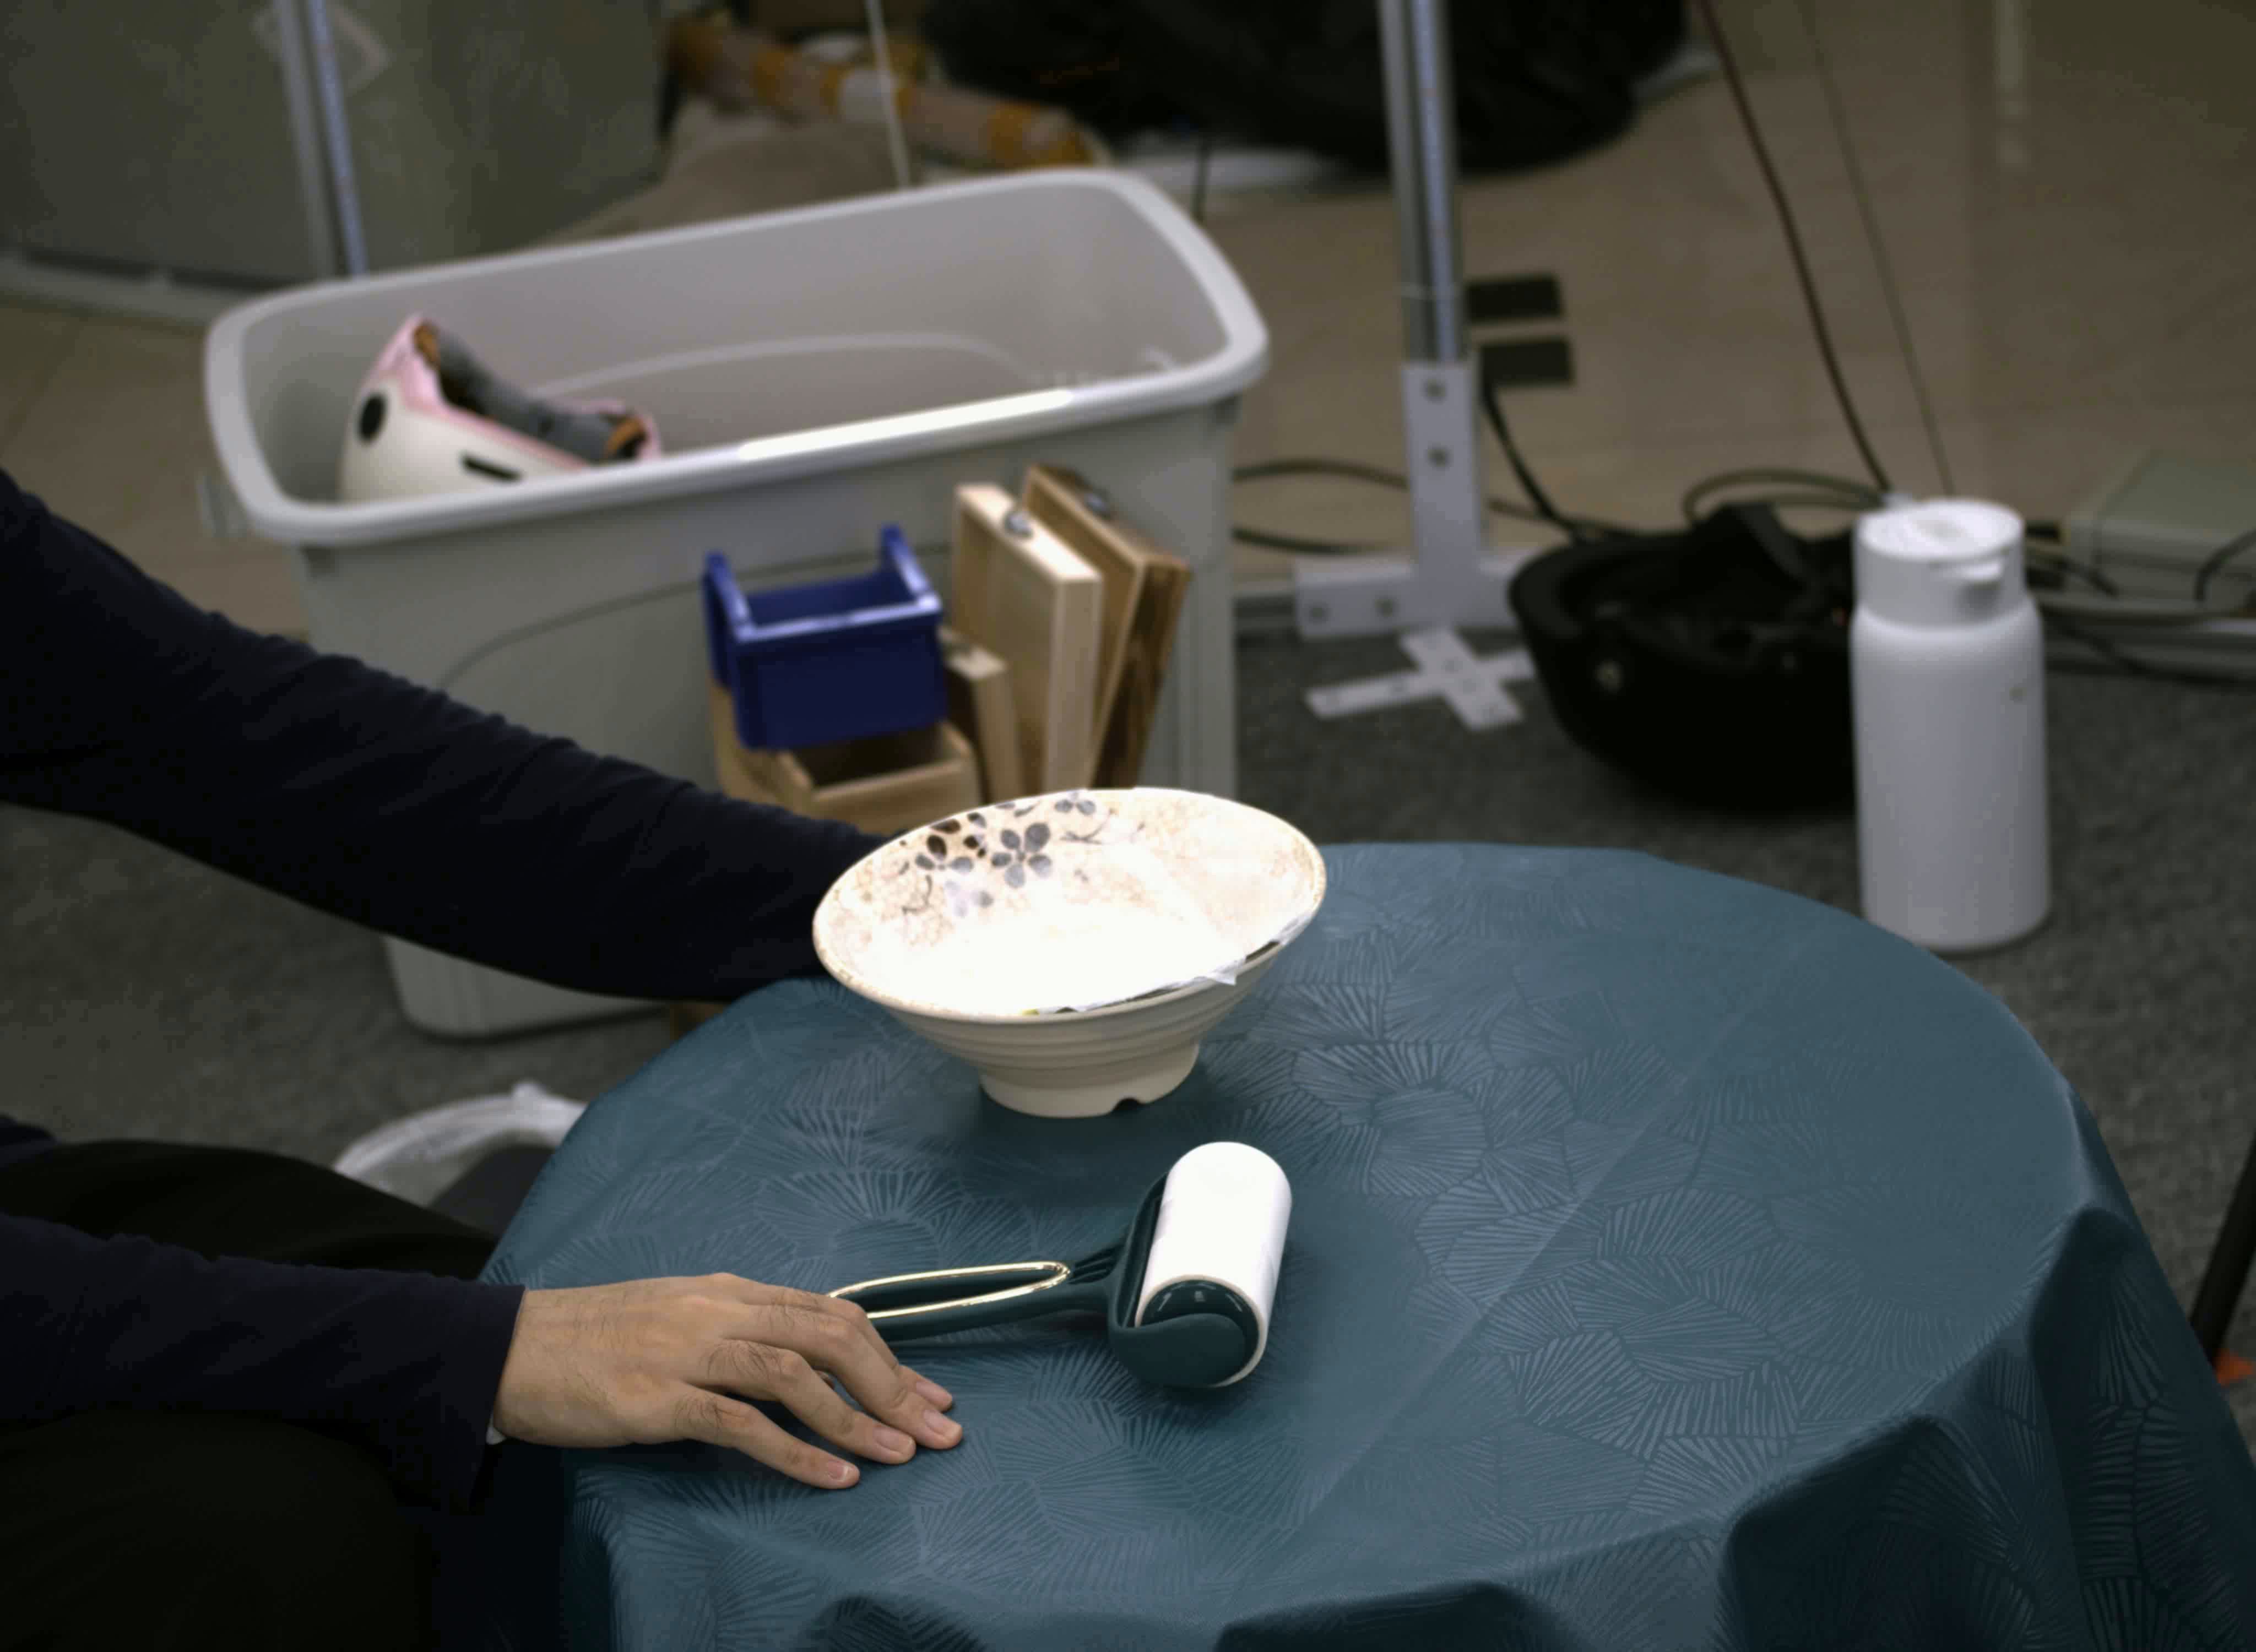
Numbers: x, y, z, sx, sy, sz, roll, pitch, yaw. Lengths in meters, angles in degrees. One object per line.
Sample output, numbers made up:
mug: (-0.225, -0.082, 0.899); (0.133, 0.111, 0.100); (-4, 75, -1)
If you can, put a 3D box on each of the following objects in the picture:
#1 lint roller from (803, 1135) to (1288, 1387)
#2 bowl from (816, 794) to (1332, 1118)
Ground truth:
lint roller: (-0.035, 0.164, 2.058); (0.180, 0.049, 0.132); (-6, 24, 10)
bowl: (-0.017, 0.061, 2.230); (0.203, 0.079, 0.201); (-6, 24, 3)
